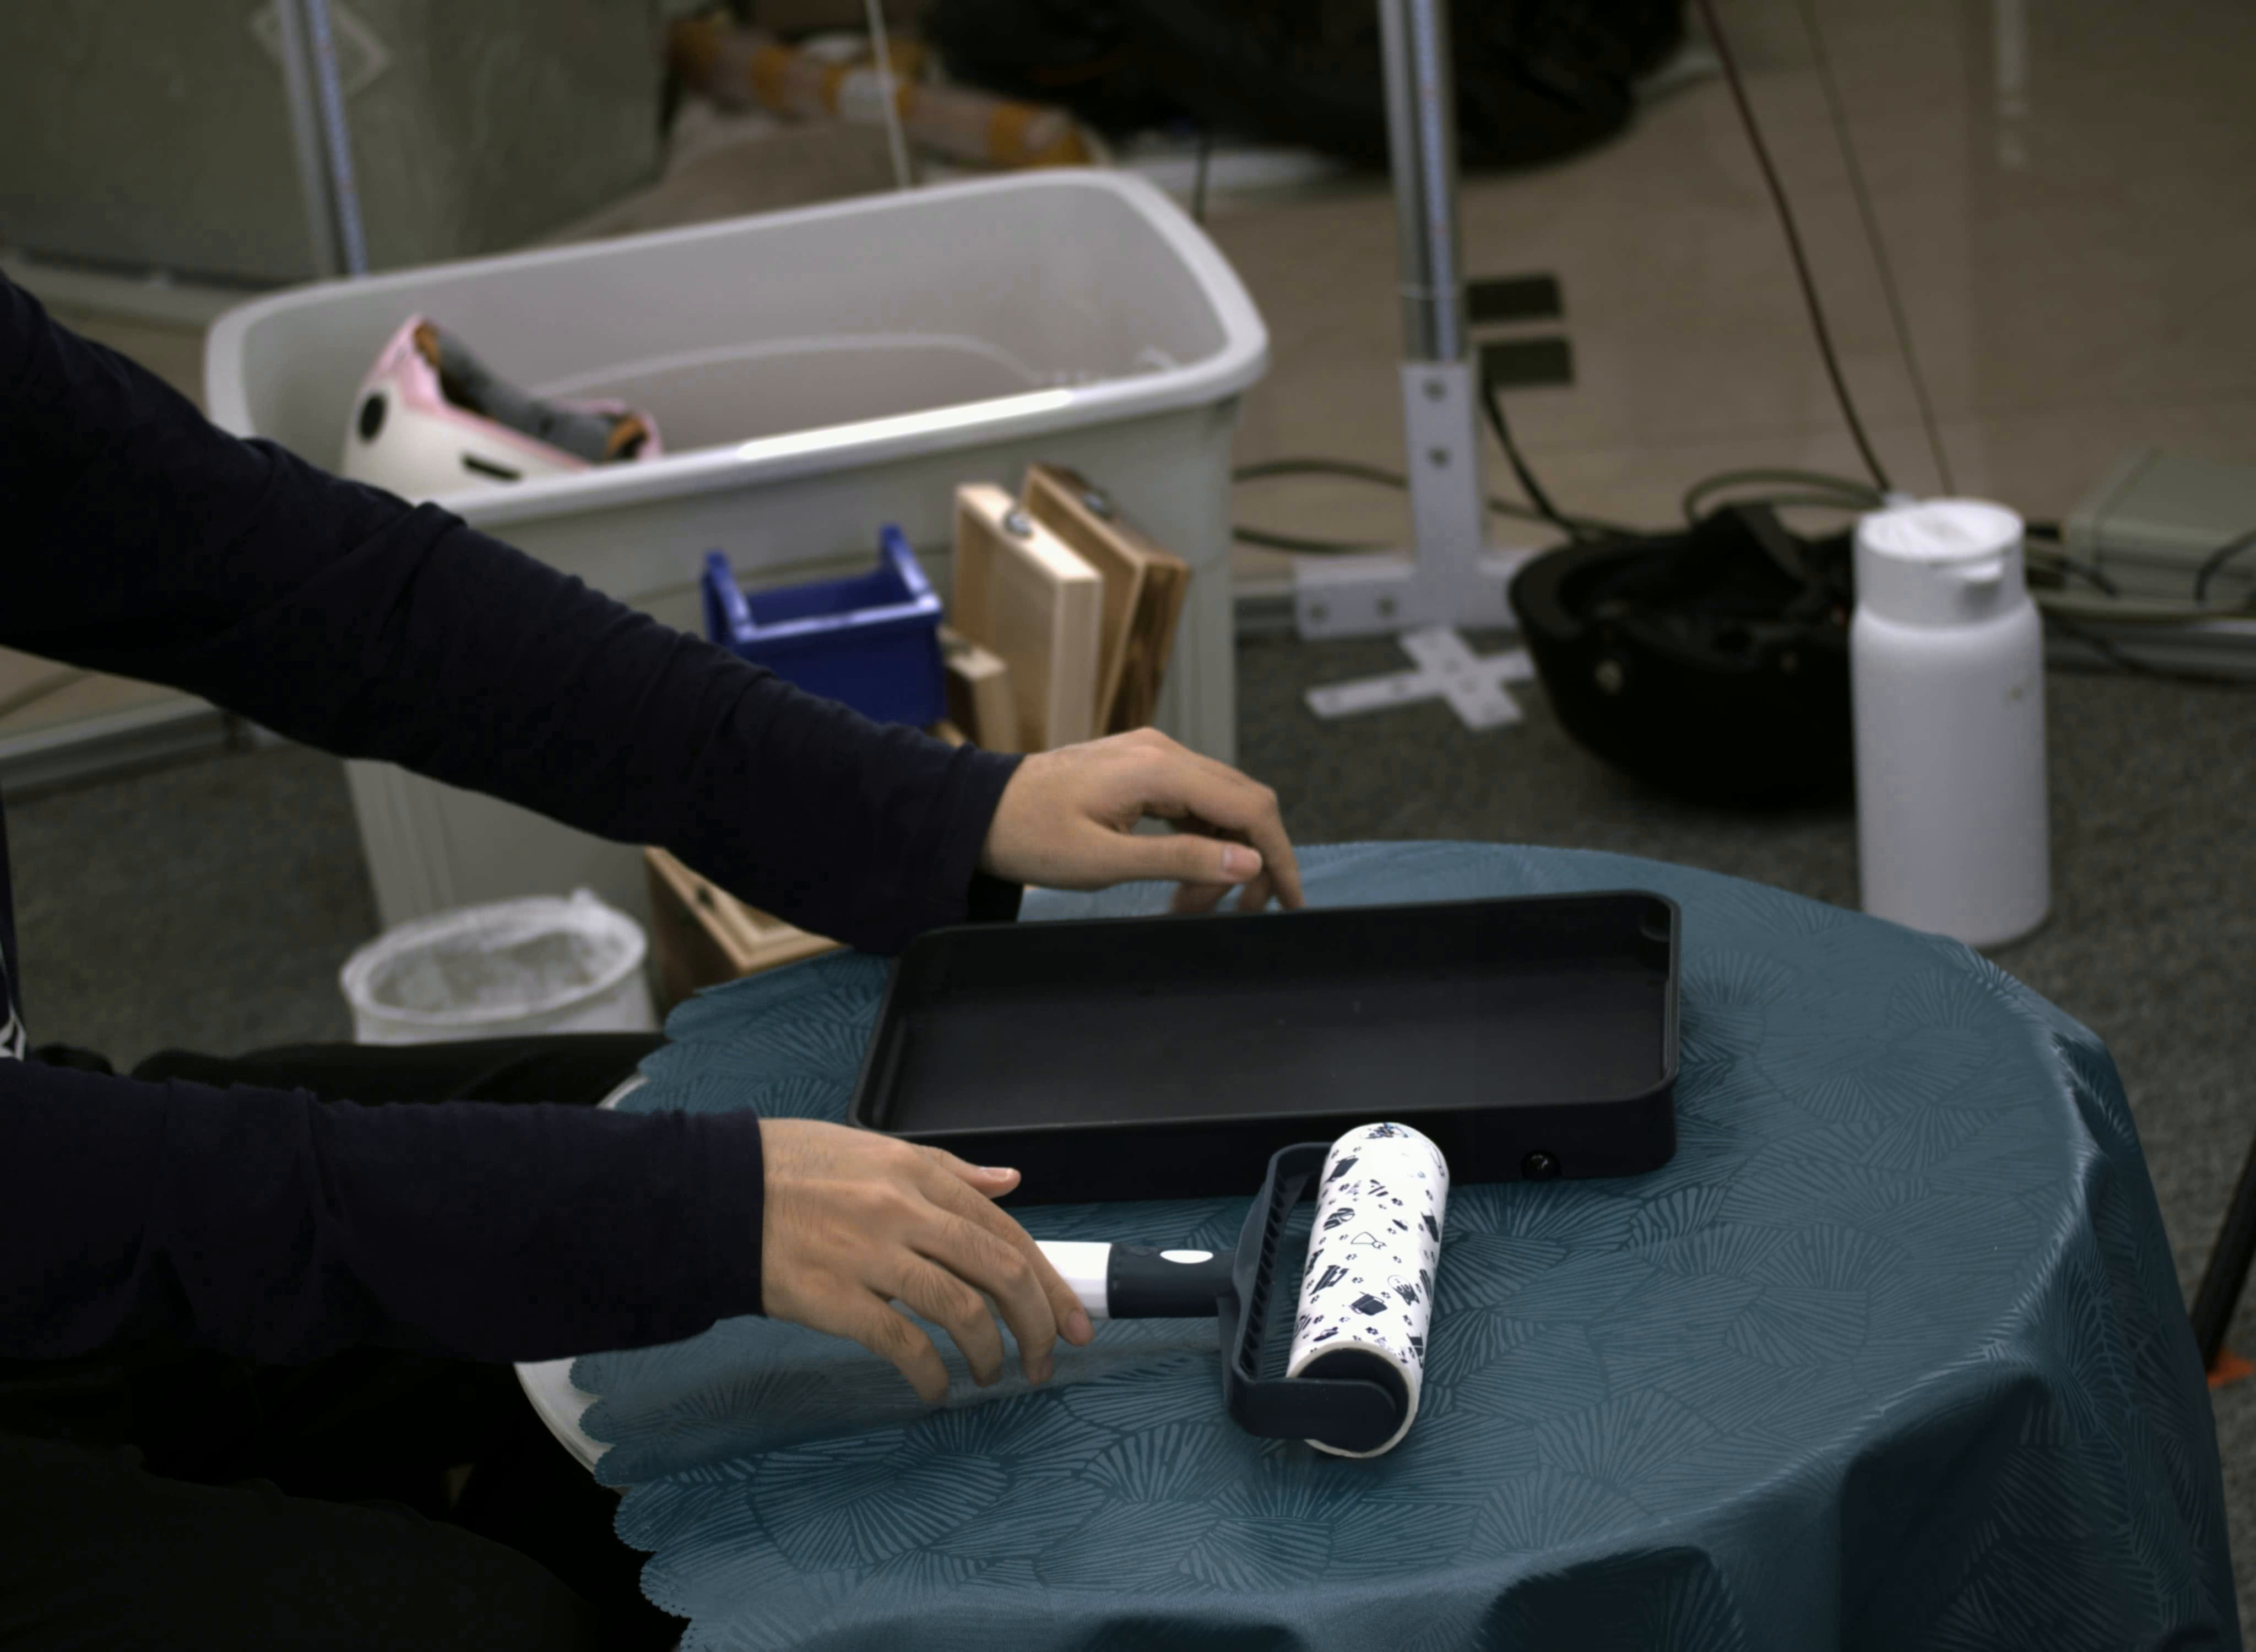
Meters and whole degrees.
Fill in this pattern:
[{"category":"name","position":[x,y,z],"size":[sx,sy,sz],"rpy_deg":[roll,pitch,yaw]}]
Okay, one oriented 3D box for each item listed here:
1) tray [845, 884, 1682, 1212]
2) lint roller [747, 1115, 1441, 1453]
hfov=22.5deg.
[{"category":"tray","position":[0.057,0.085,2.209],"size":[0.317,0.037,0.181],"rpy_deg":[-4,24,8]},{"category":"lint roller","position":[-0.016,0.162,2.032],"size":[0.246,0.051,0.173],"rpy_deg":[0,27,7]}]
